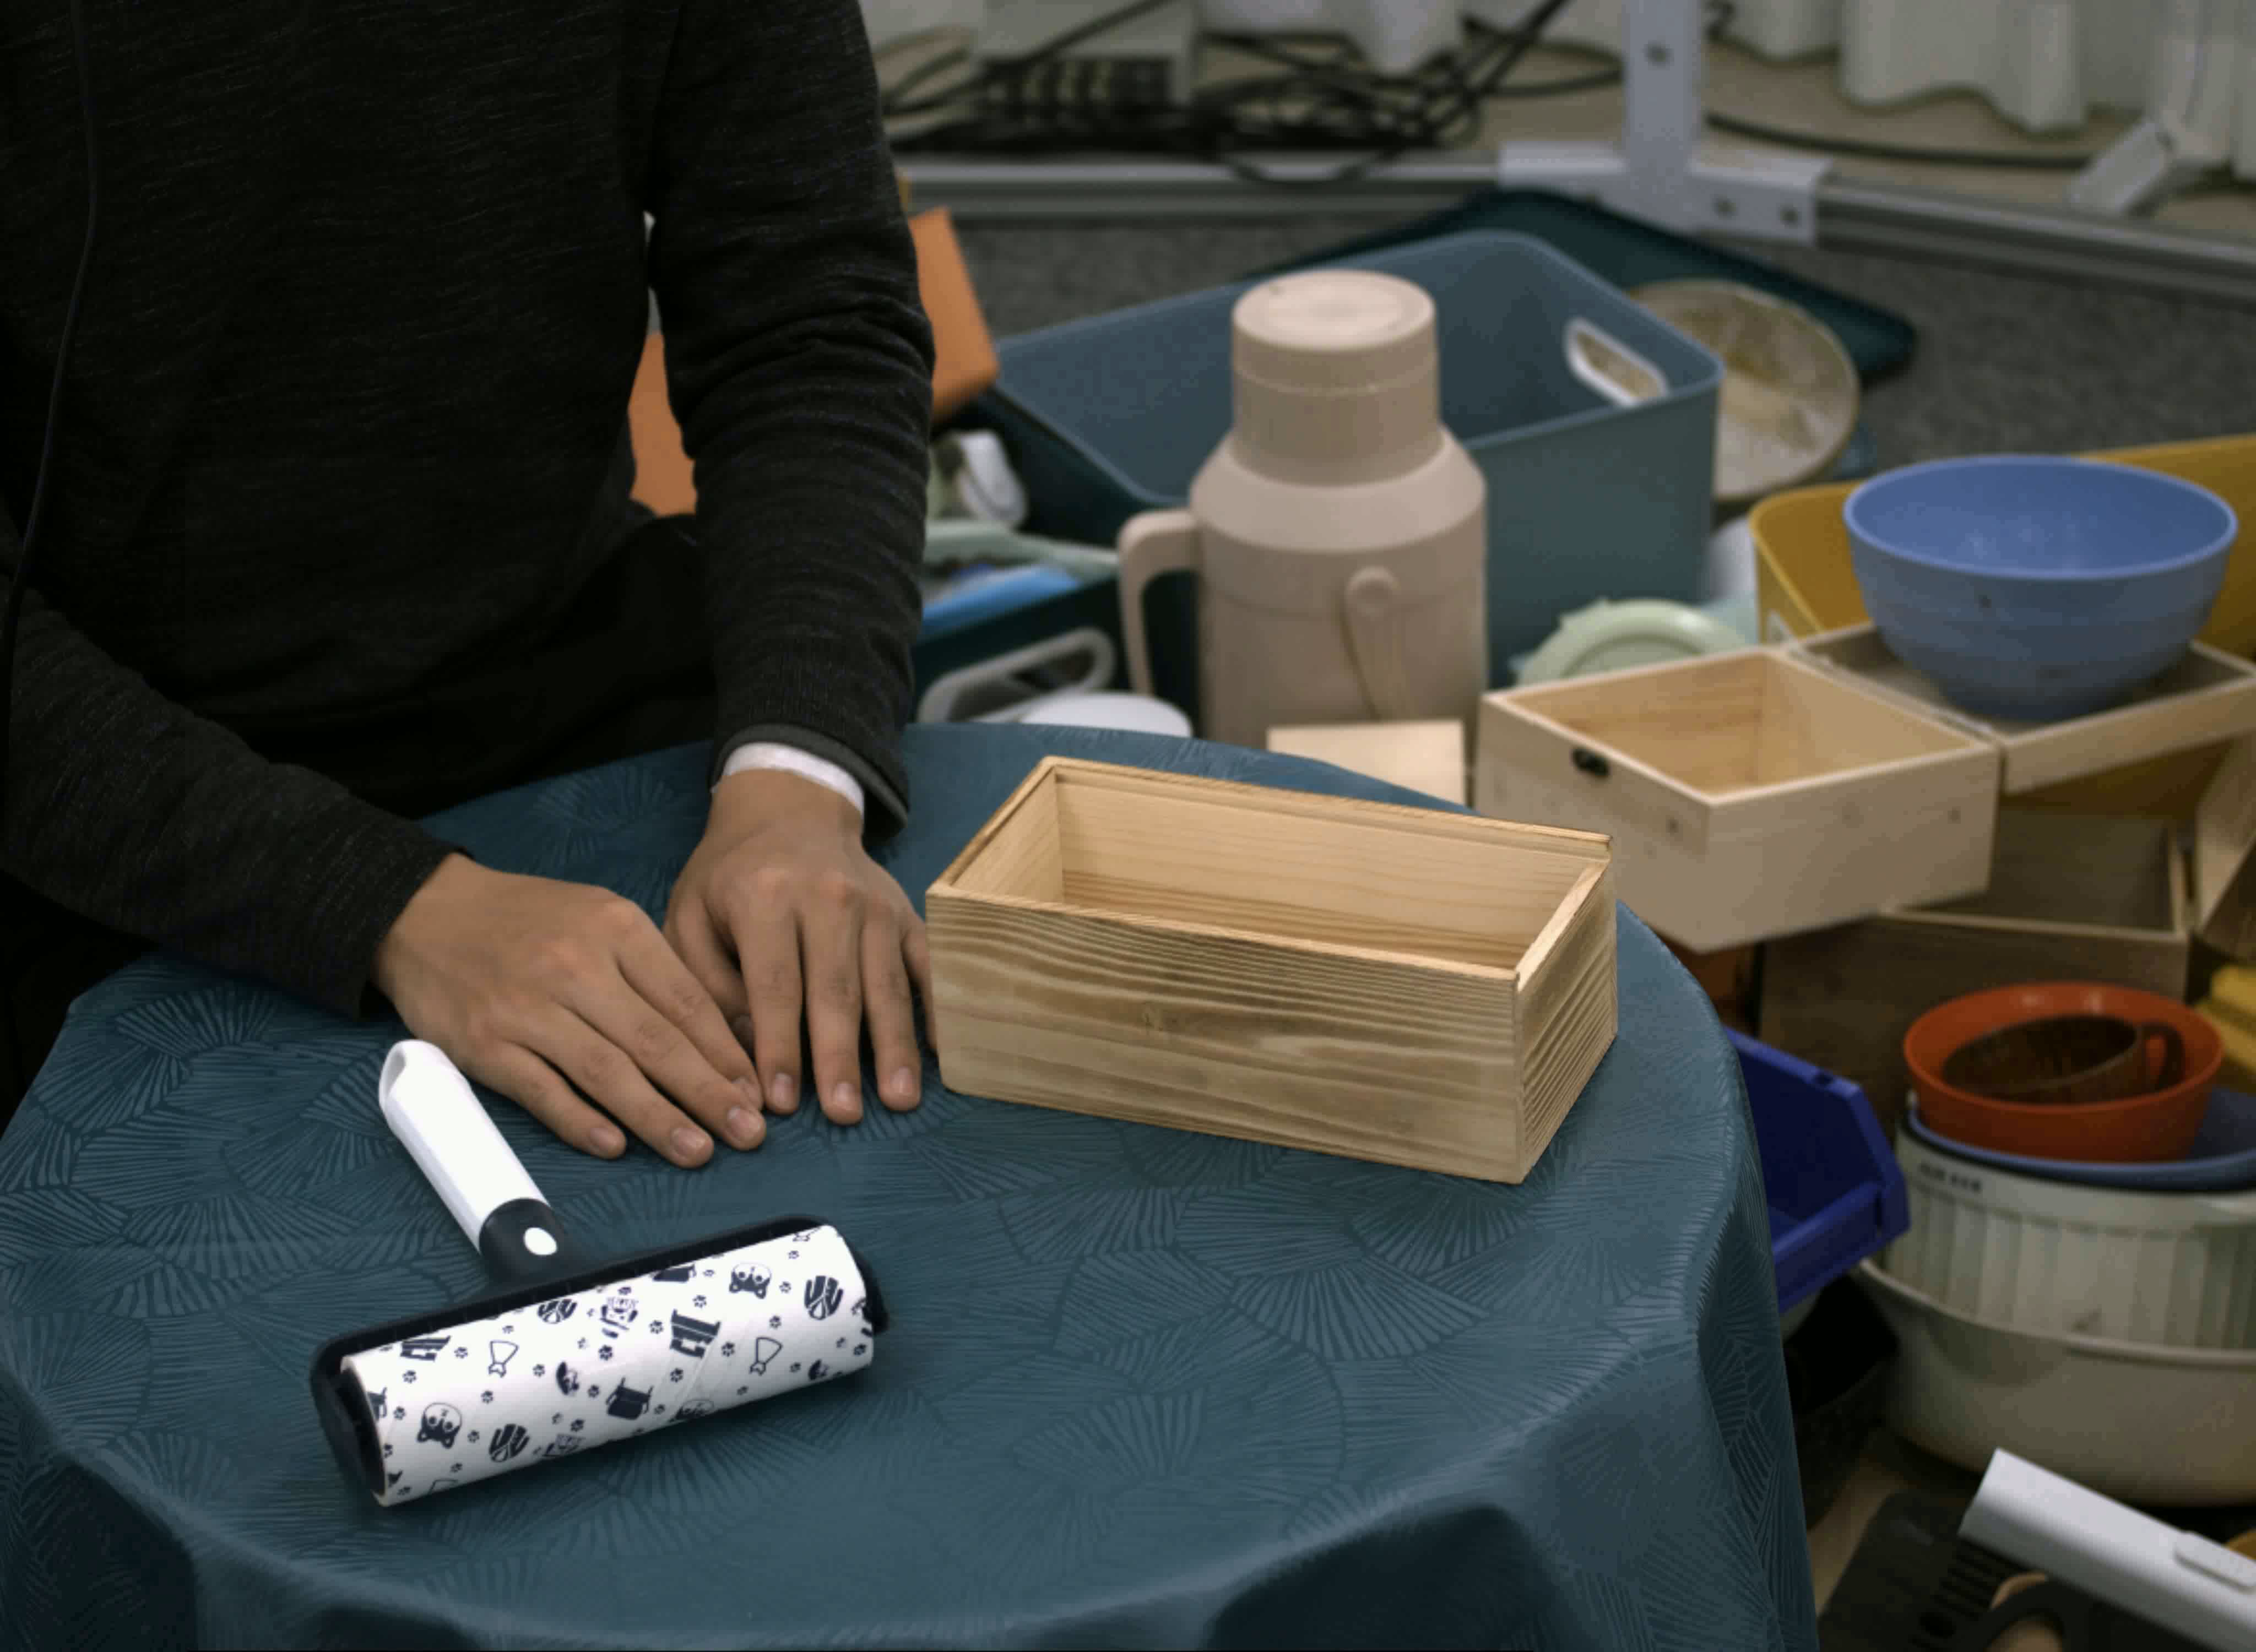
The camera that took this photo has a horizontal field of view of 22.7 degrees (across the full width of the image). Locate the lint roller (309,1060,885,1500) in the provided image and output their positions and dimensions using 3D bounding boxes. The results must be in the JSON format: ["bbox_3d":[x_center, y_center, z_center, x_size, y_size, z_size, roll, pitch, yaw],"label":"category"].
[{"bbox_3d":[-0.203,0.128,1.823,0.177,0.050,0.248,-15,28,-20],"label":"lint roller"}]

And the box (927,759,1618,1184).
[{"bbox_3d":[0.050,0.047,1.914,0.210,0.079,0.109,8,28,20],"label":"box"}]
